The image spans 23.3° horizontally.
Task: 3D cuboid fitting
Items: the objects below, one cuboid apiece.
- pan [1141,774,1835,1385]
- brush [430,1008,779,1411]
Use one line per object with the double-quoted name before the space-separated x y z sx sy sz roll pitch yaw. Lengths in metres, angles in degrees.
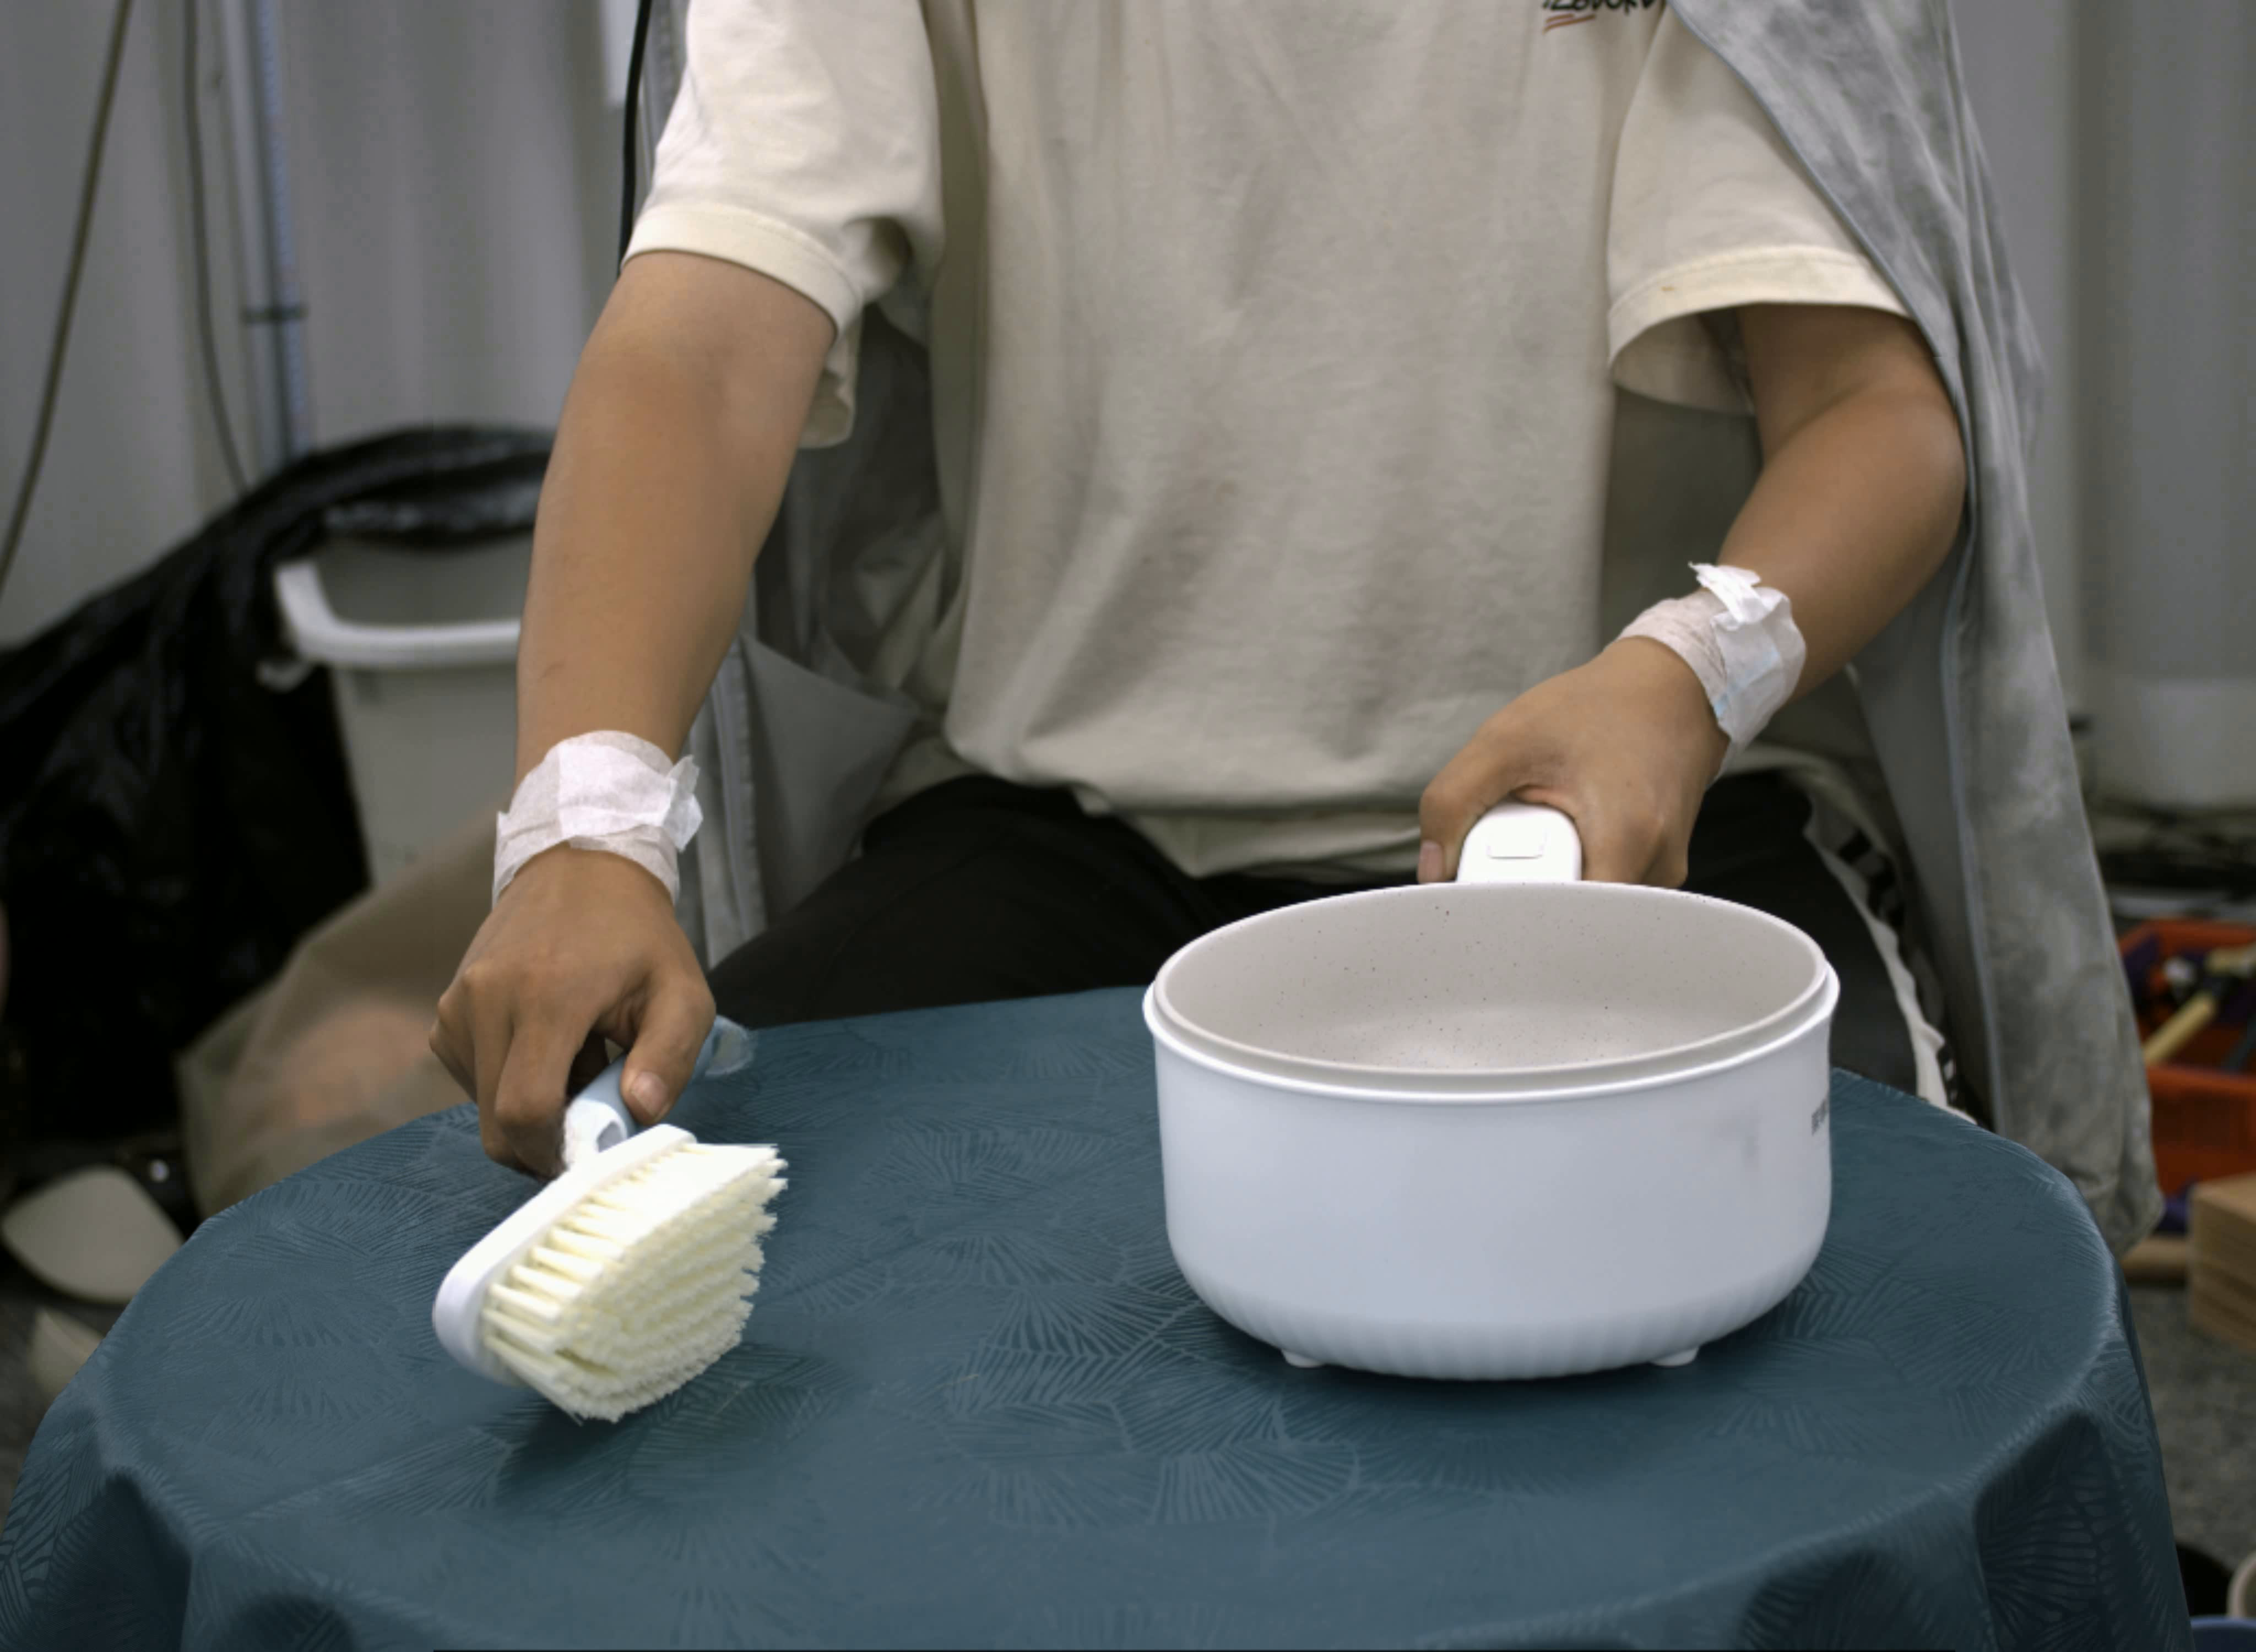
"pan" 0.114 0.073 1.668 0.201 0.102 0.357 -2 14 7
"brush" -0.130 0.105 1.650 0.083 0.084 0.326 -38 3 13
